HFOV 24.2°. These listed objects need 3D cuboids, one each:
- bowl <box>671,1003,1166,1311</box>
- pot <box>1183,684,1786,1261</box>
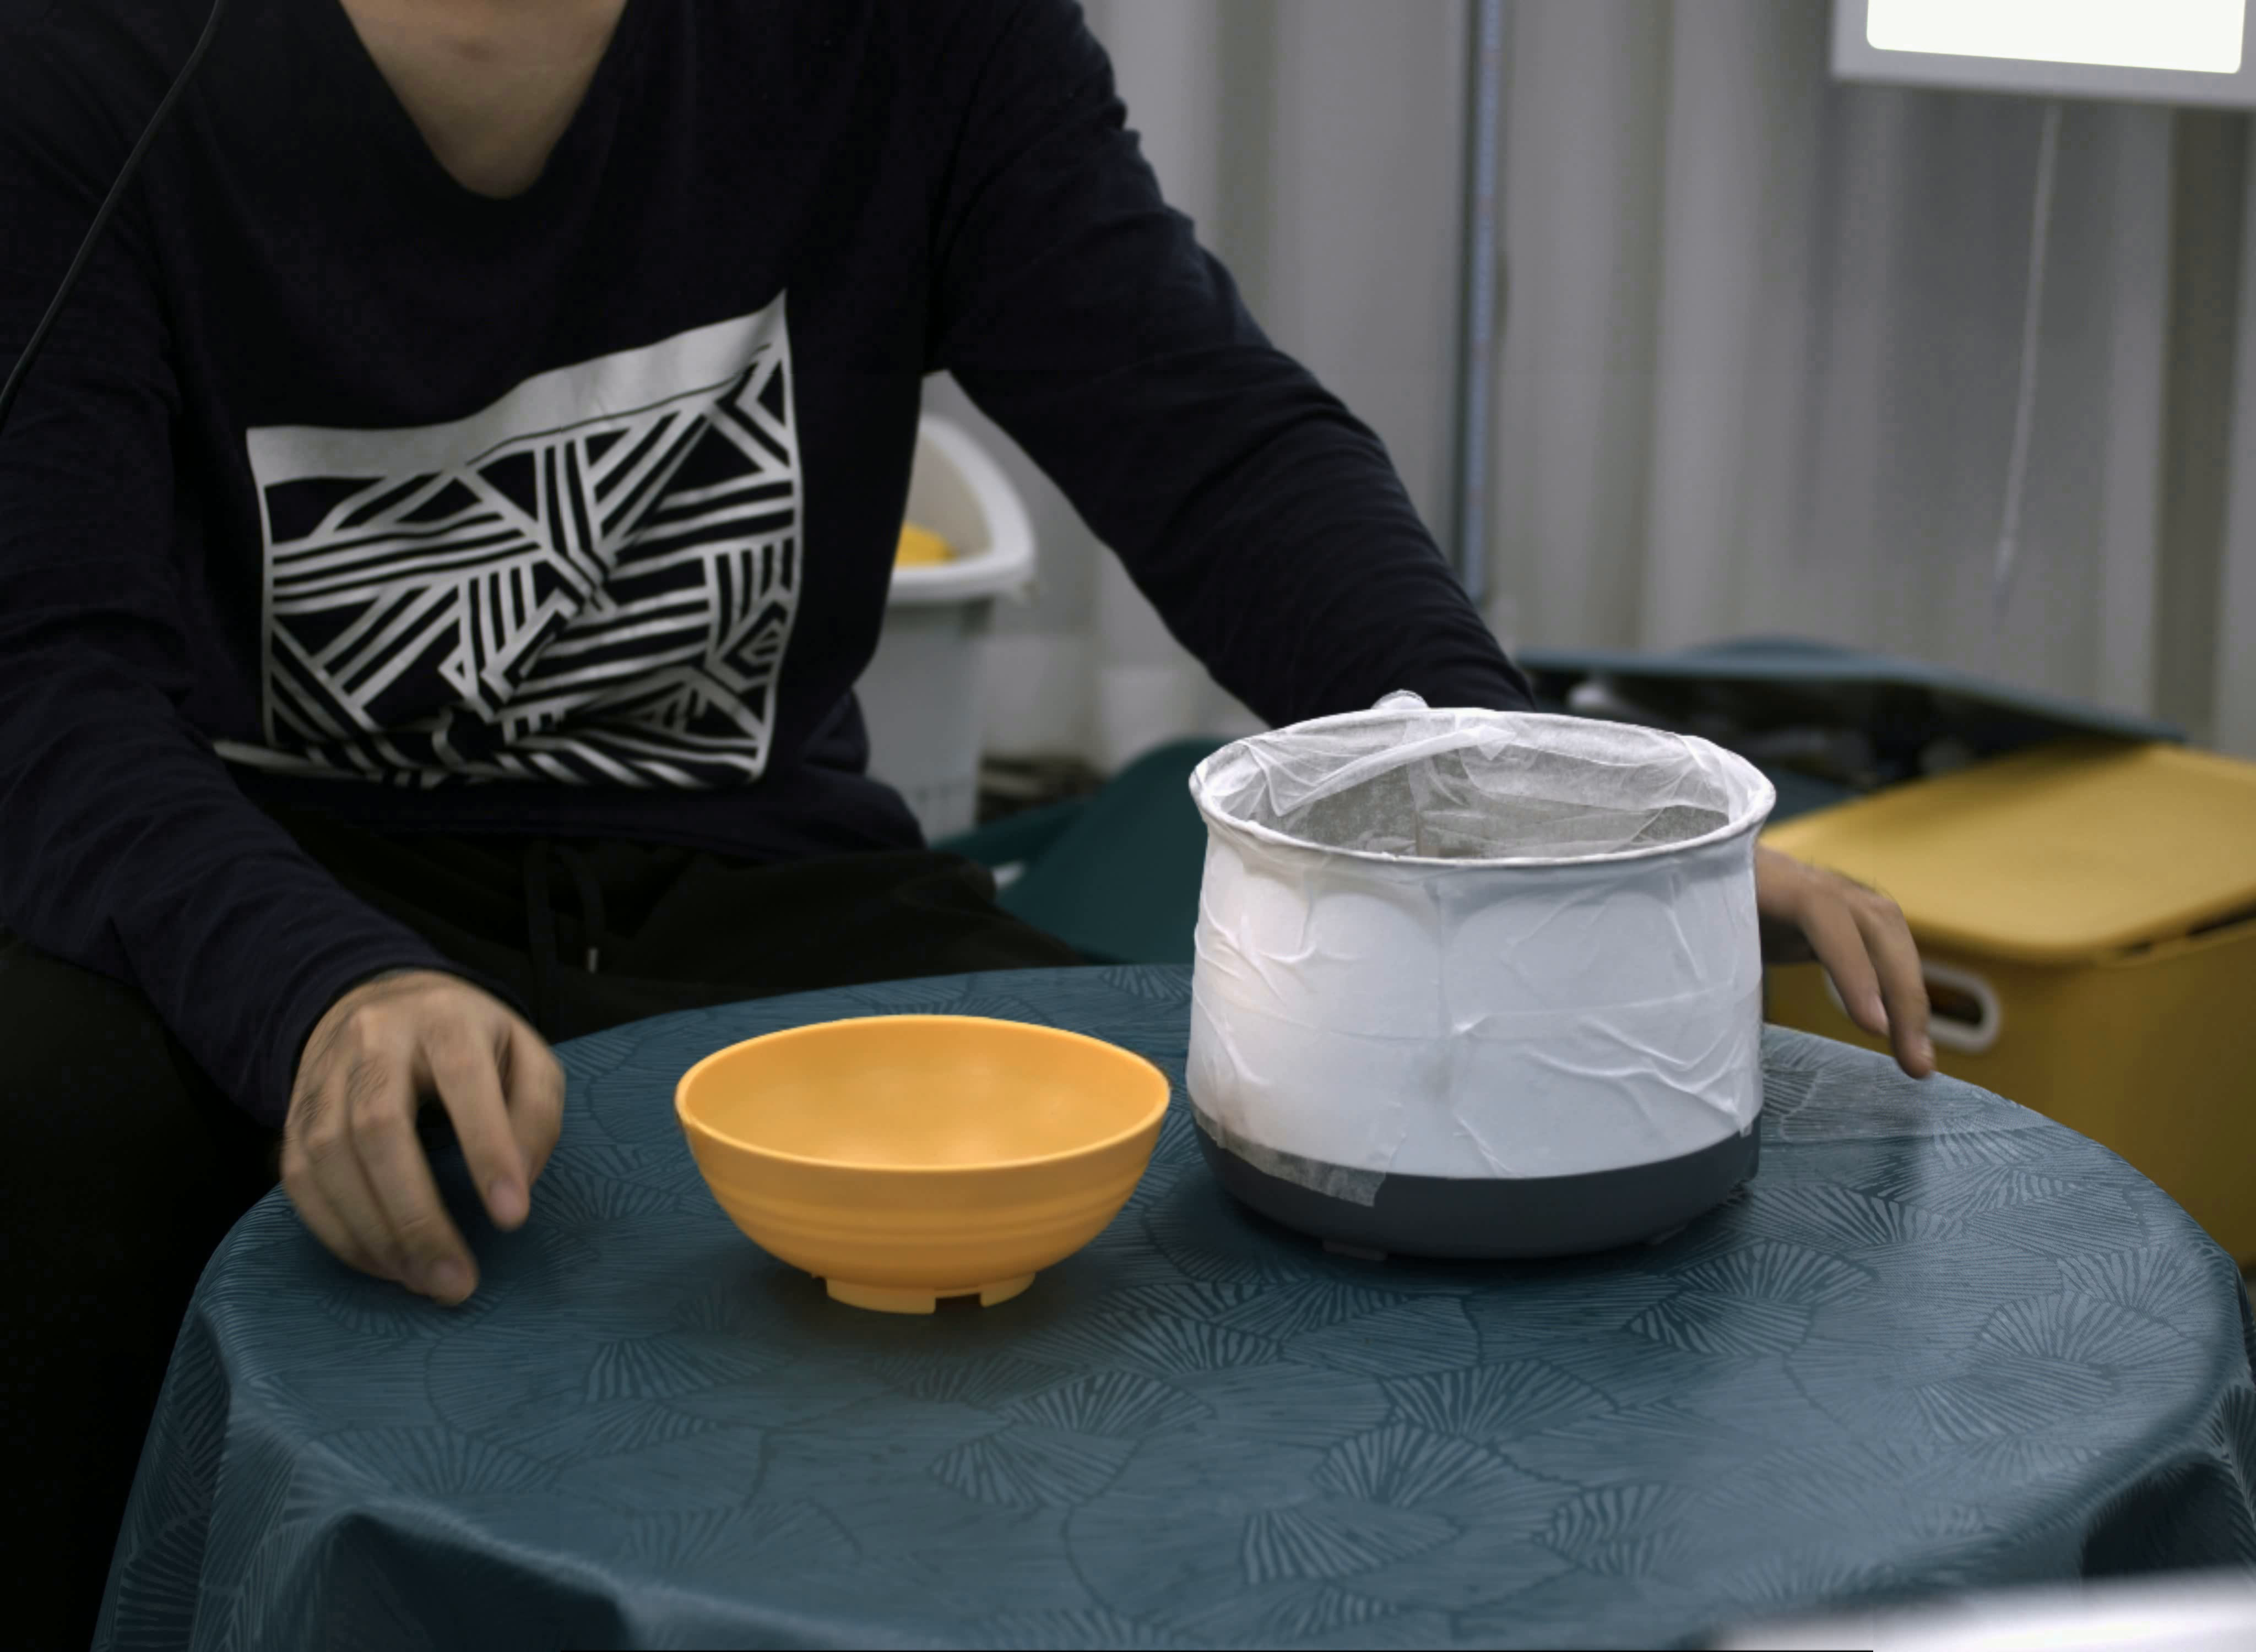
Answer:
[{"bbox_3d":[-0.062,0.102,1.541,0.145,0.060,0.144,2,17,0],"label":"bowl"},{"bbox_3d":[0.100,0.040,1.630,0.179,0.137,0.231,0,16,-13],"label":"pot"}]
